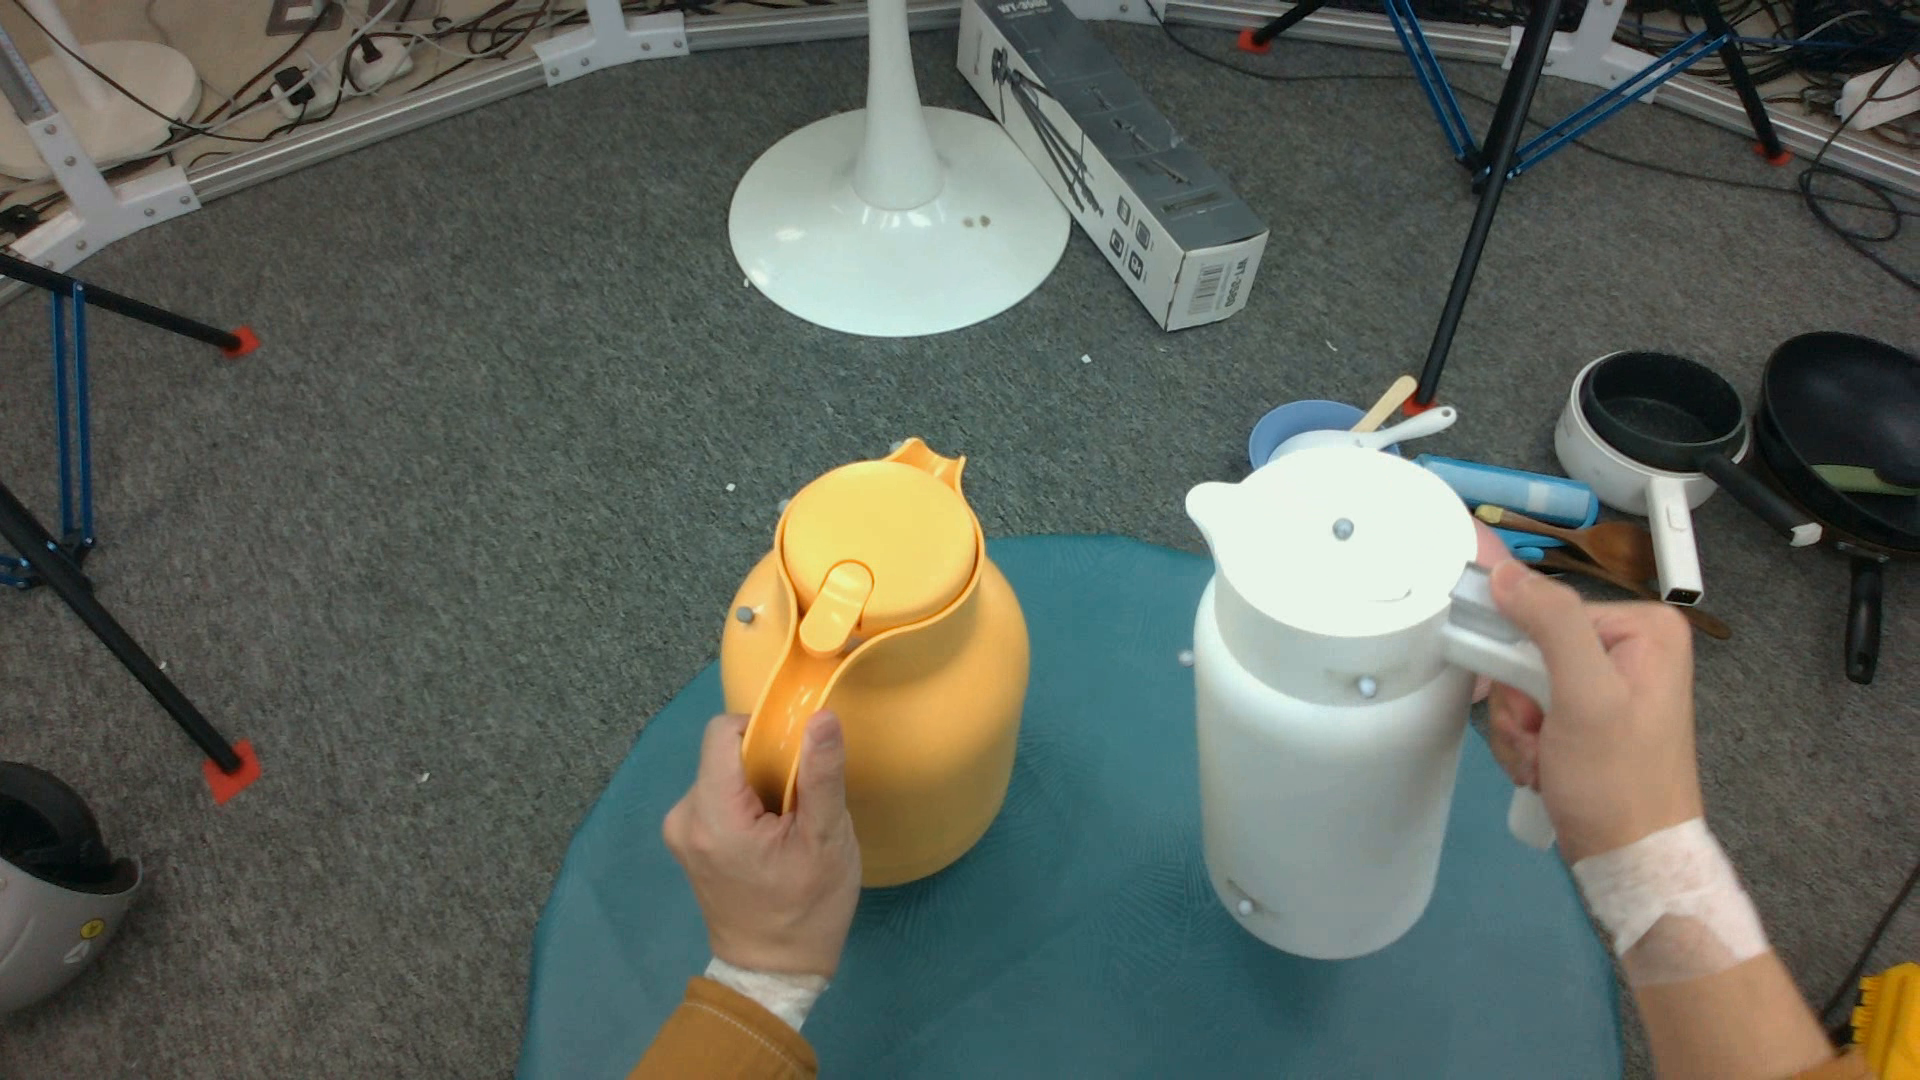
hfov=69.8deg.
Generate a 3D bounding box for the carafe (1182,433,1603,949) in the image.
[{"bbox_3d":[0.182,0.084,0.625,0.172,0.267,0.124,22,54,27],"label":"carafe"}]

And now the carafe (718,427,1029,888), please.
[{"bbox_3d":[-0.055,0.078,0.712,0.163,0.259,0.203,22,54,14],"label":"carafe"}]
